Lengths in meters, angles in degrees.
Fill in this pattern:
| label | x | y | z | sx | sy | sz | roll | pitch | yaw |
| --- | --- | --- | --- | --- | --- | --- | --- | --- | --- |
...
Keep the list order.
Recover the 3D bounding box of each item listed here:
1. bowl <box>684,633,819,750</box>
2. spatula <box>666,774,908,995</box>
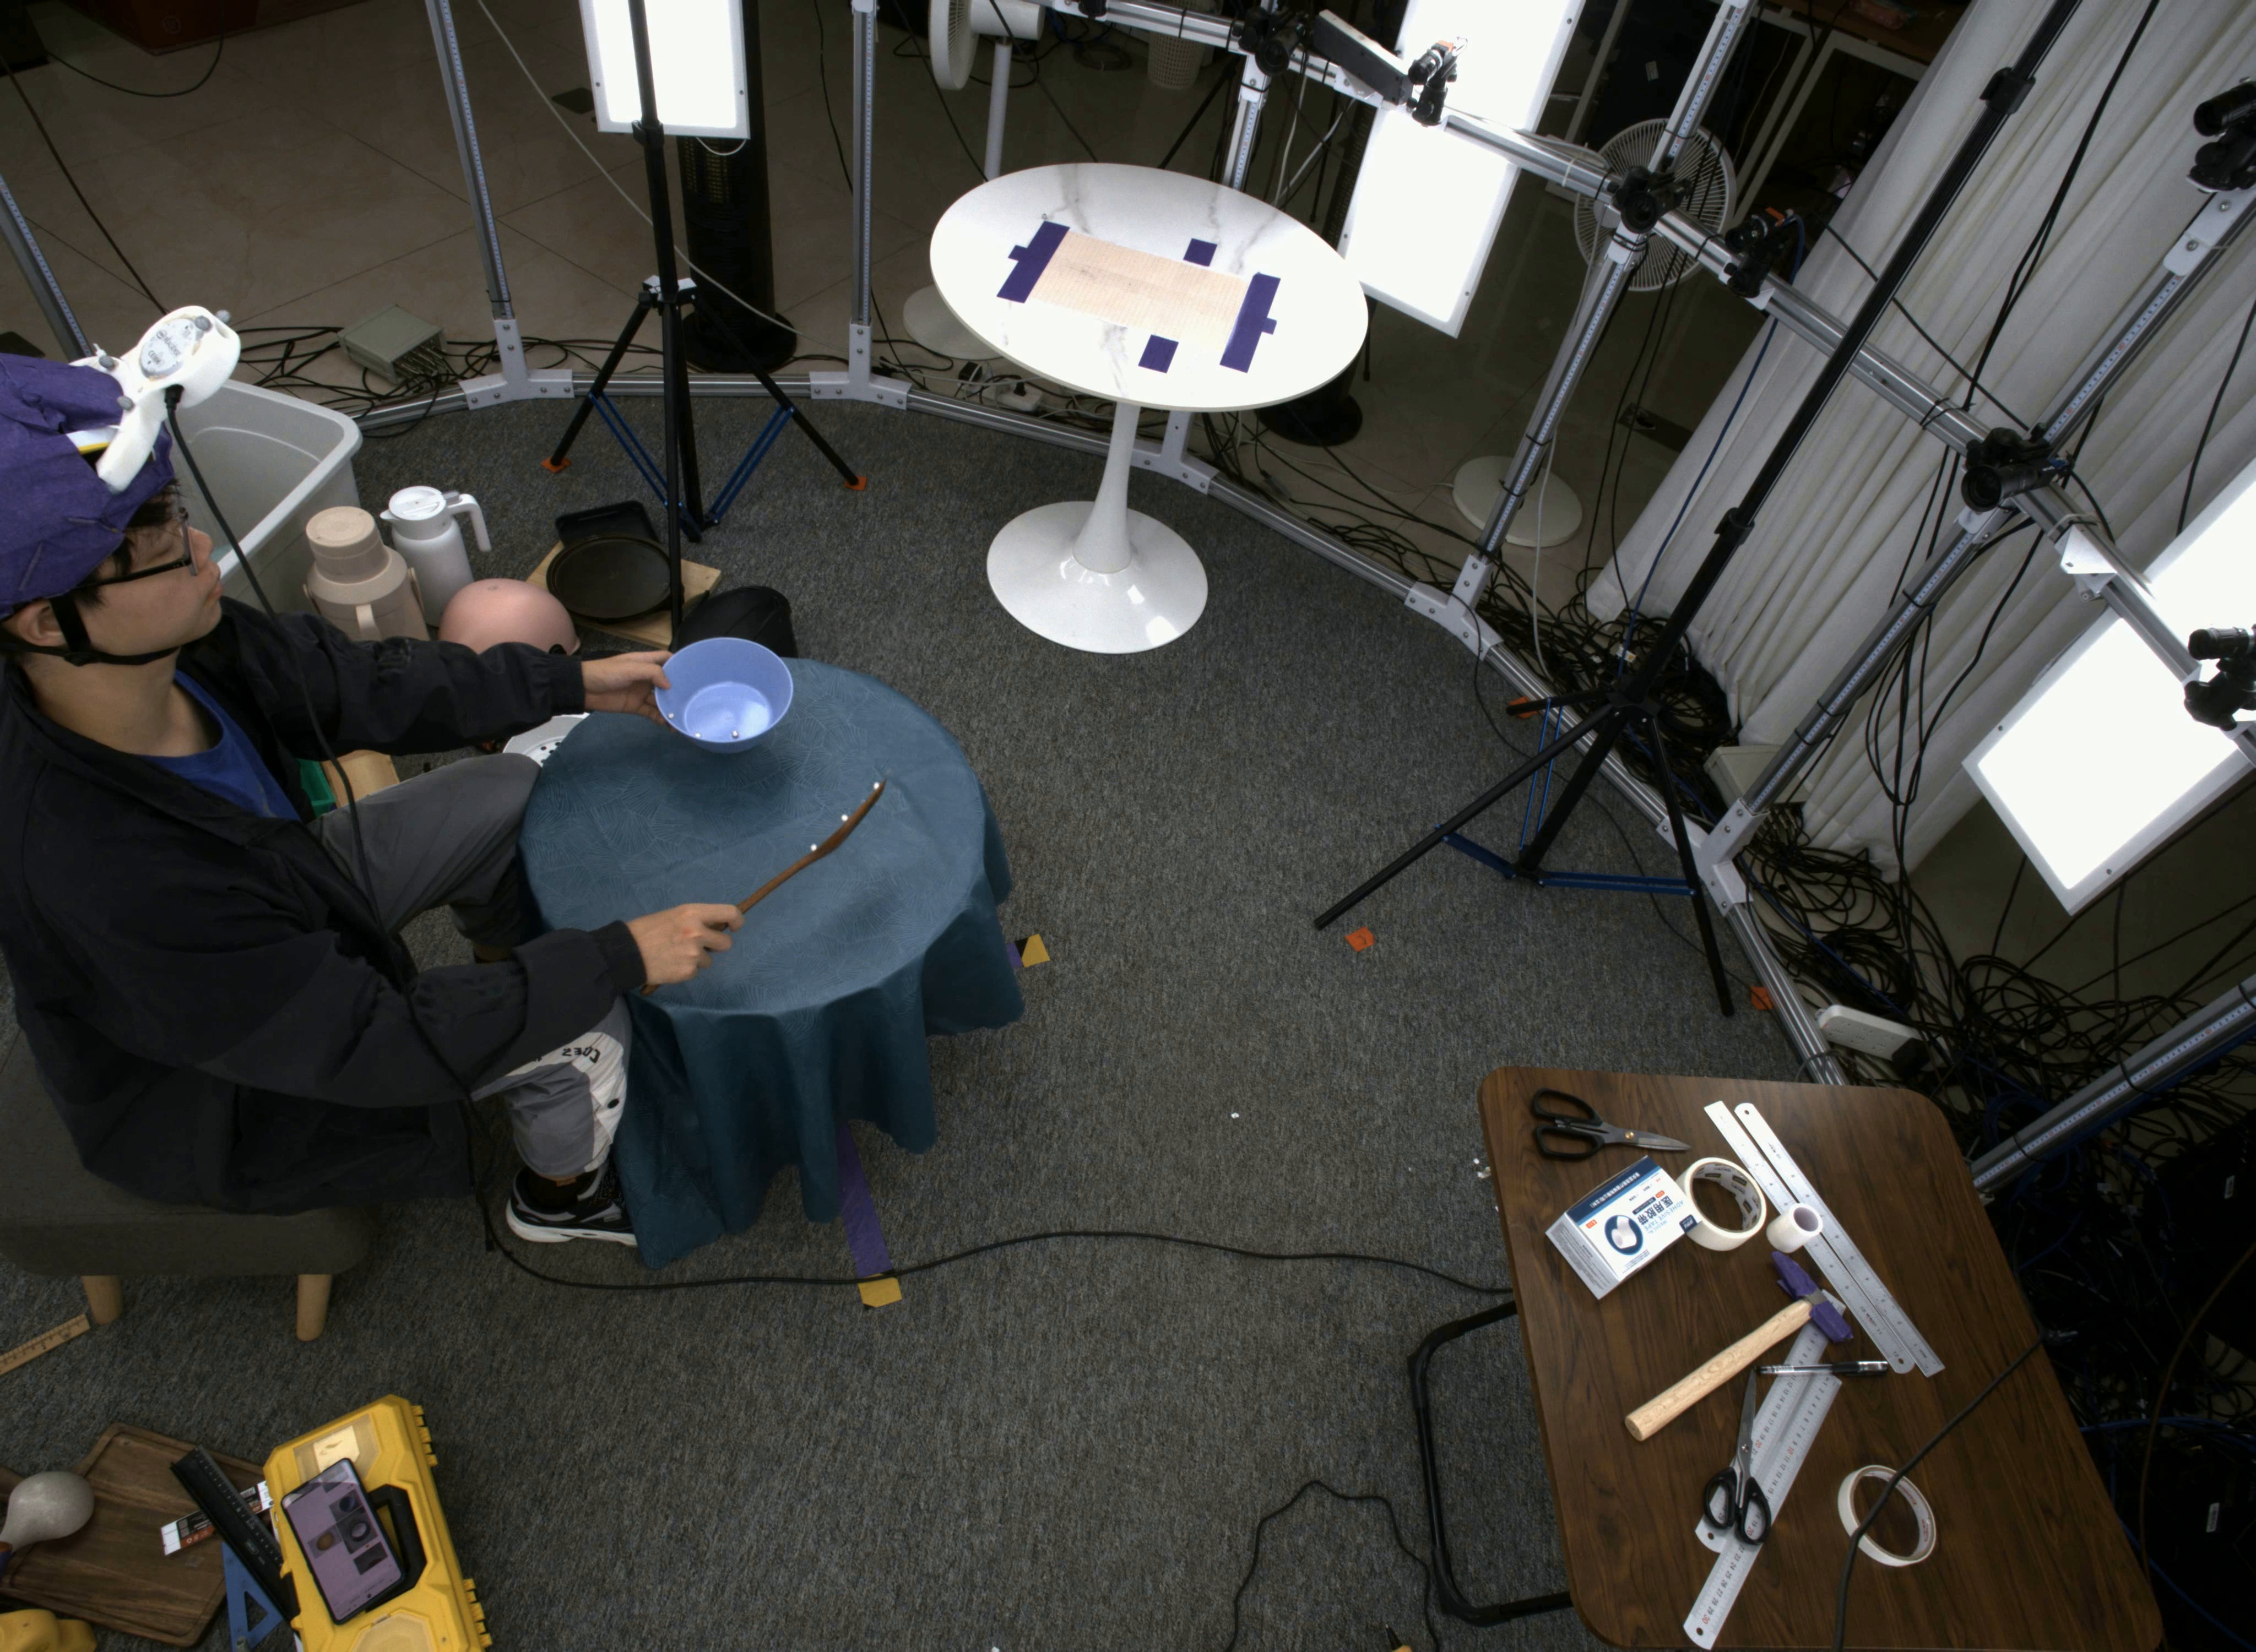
| label | x | y | z | sx | sy | sz | roll | pitch | yaw |
| --- | --- | --- | --- | --- | --- | --- | --- | --- | --- |
| bowl | -0.501 | -0.169 | 1.729 | 0.175 | 0.071 | 0.173 | 6 | 57 | -7 |
| spatula | -0.402 | 0.068 | 1.558 | 0.387 | 0.085 | 0.024 | -42 | 90 | -21 |
